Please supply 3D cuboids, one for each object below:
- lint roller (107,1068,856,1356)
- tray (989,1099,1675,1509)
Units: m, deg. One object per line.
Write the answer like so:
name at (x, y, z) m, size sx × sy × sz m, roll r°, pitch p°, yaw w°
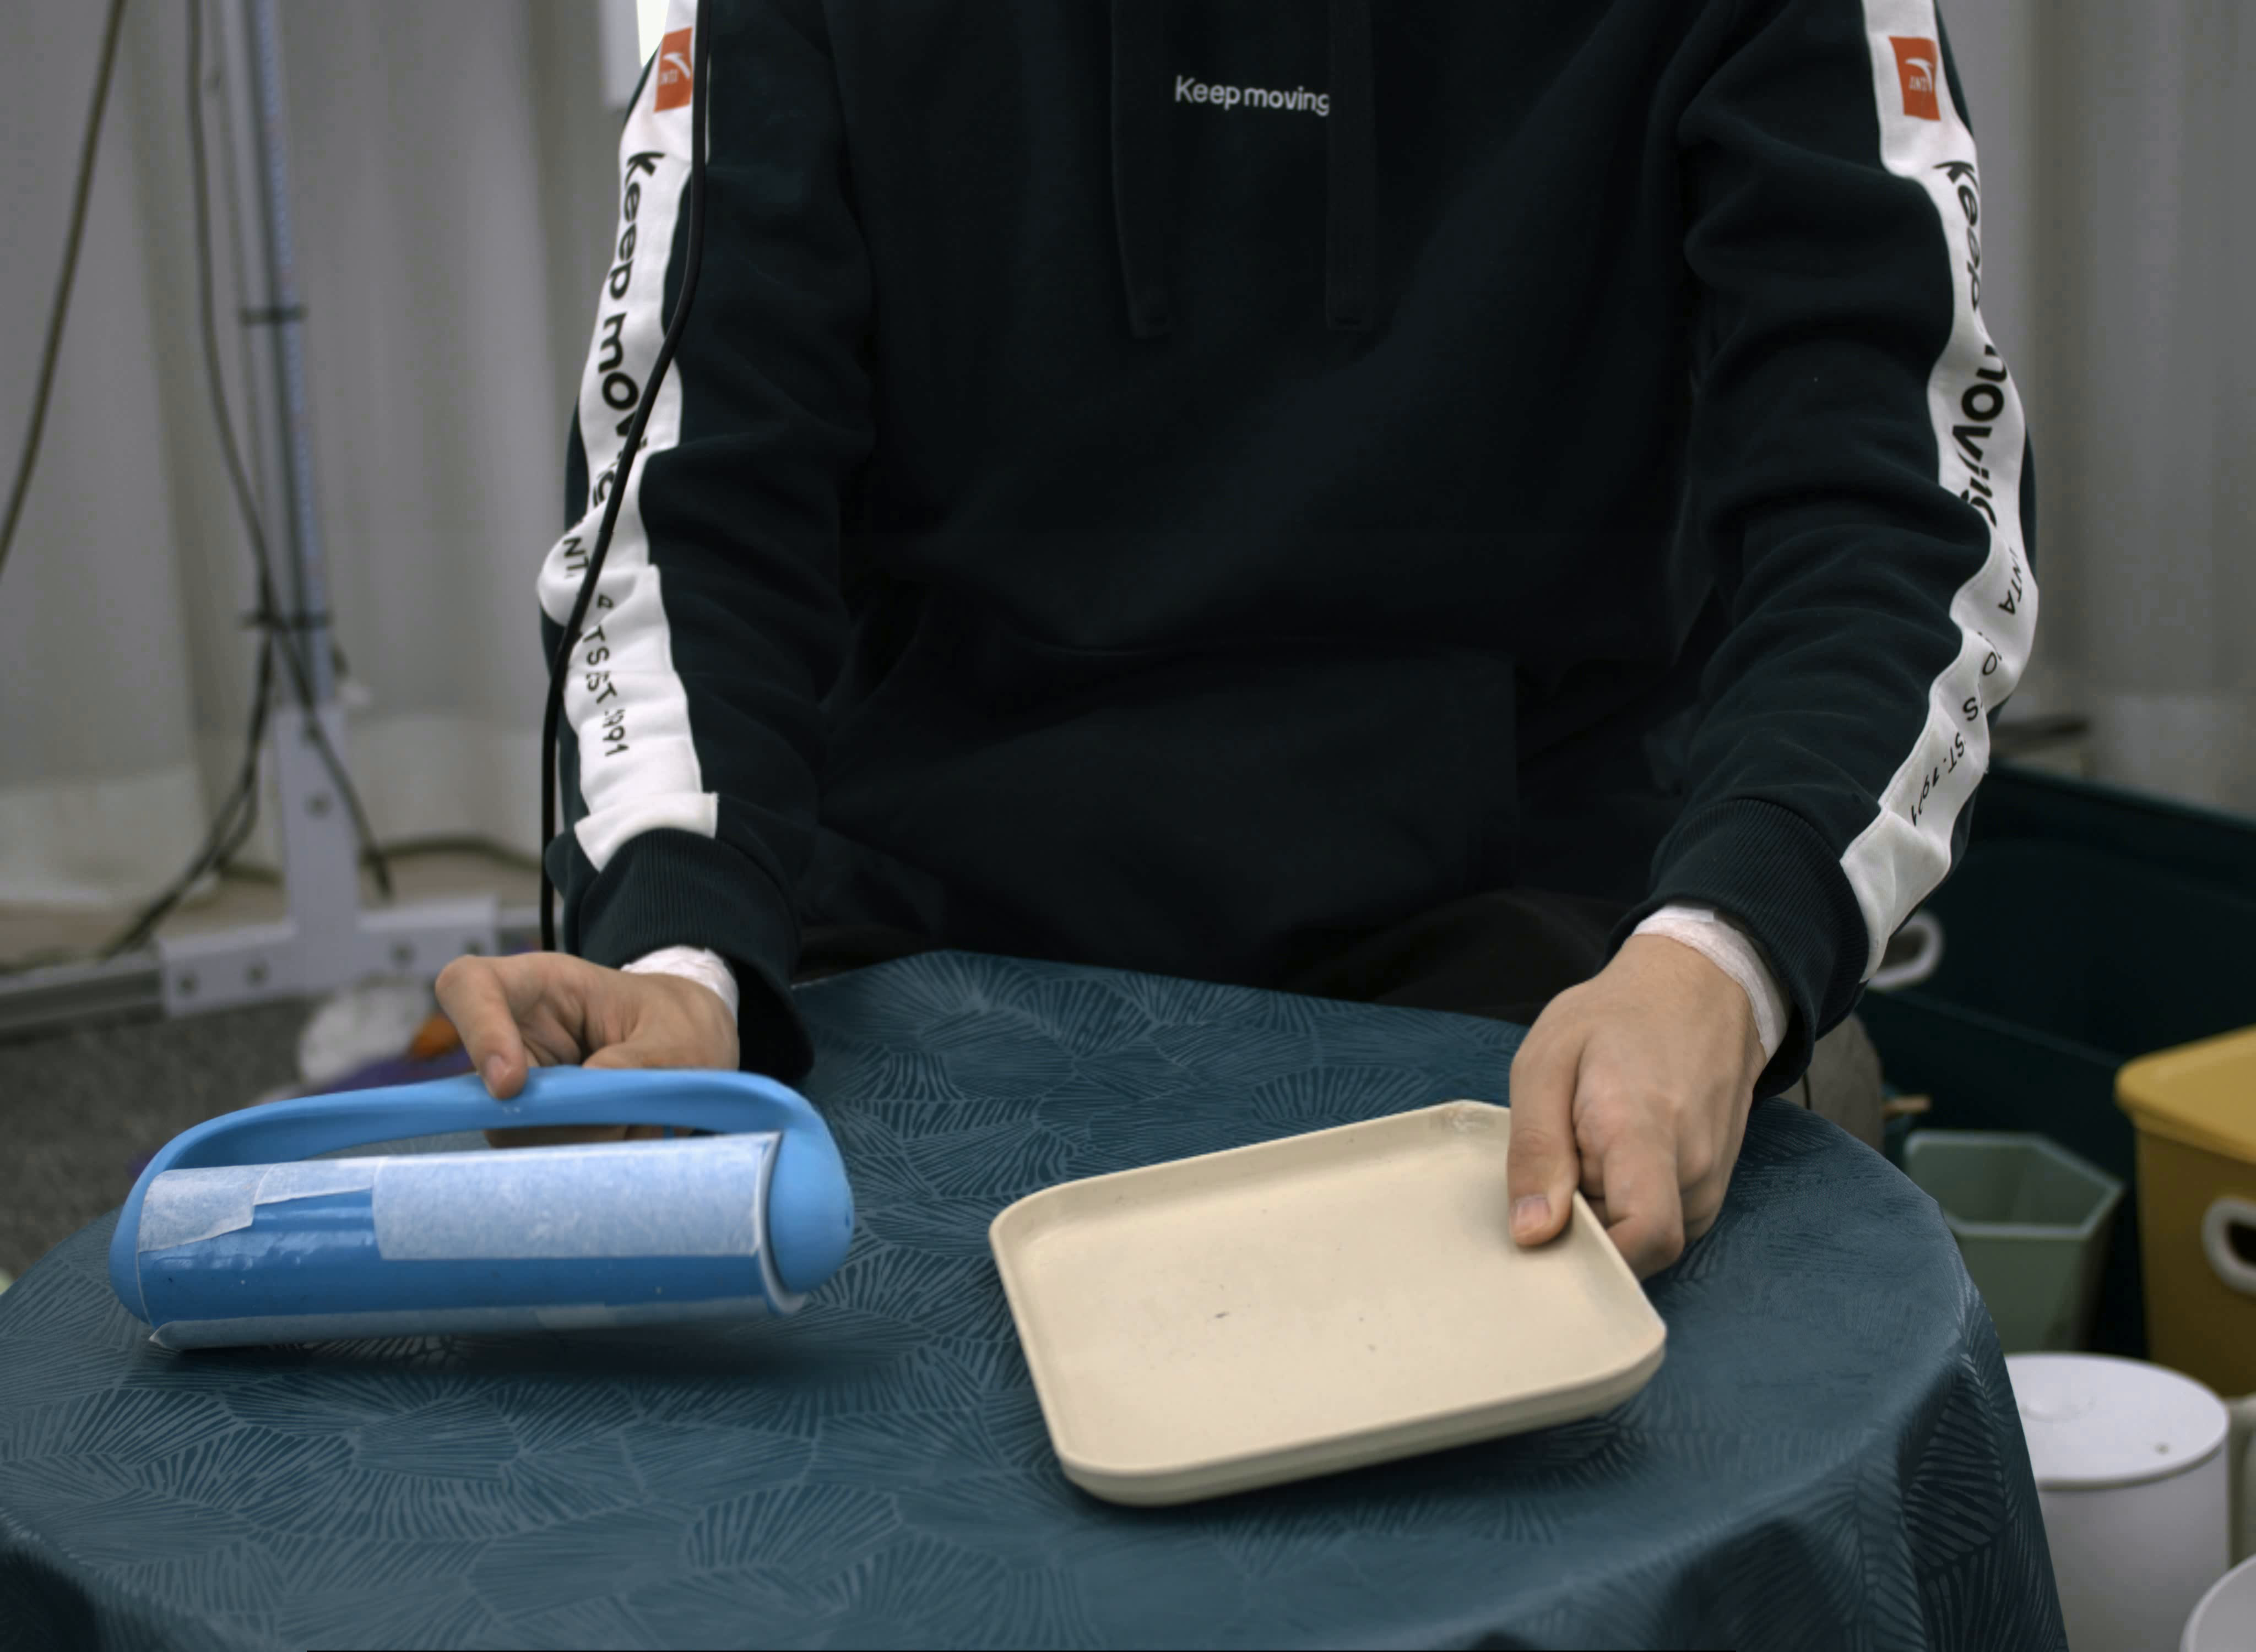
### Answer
lint roller at (-0.179, 0.104, 1.647) m, size 0.228 × 0.067 × 0.181 m, roll -7°, pitch 14°, yaw 12°
tray at (0.054, 0.135, 1.560) m, size 0.171 × 0.017 × 0.241 m, roll -13°, pitch 16°, yaw -4°
